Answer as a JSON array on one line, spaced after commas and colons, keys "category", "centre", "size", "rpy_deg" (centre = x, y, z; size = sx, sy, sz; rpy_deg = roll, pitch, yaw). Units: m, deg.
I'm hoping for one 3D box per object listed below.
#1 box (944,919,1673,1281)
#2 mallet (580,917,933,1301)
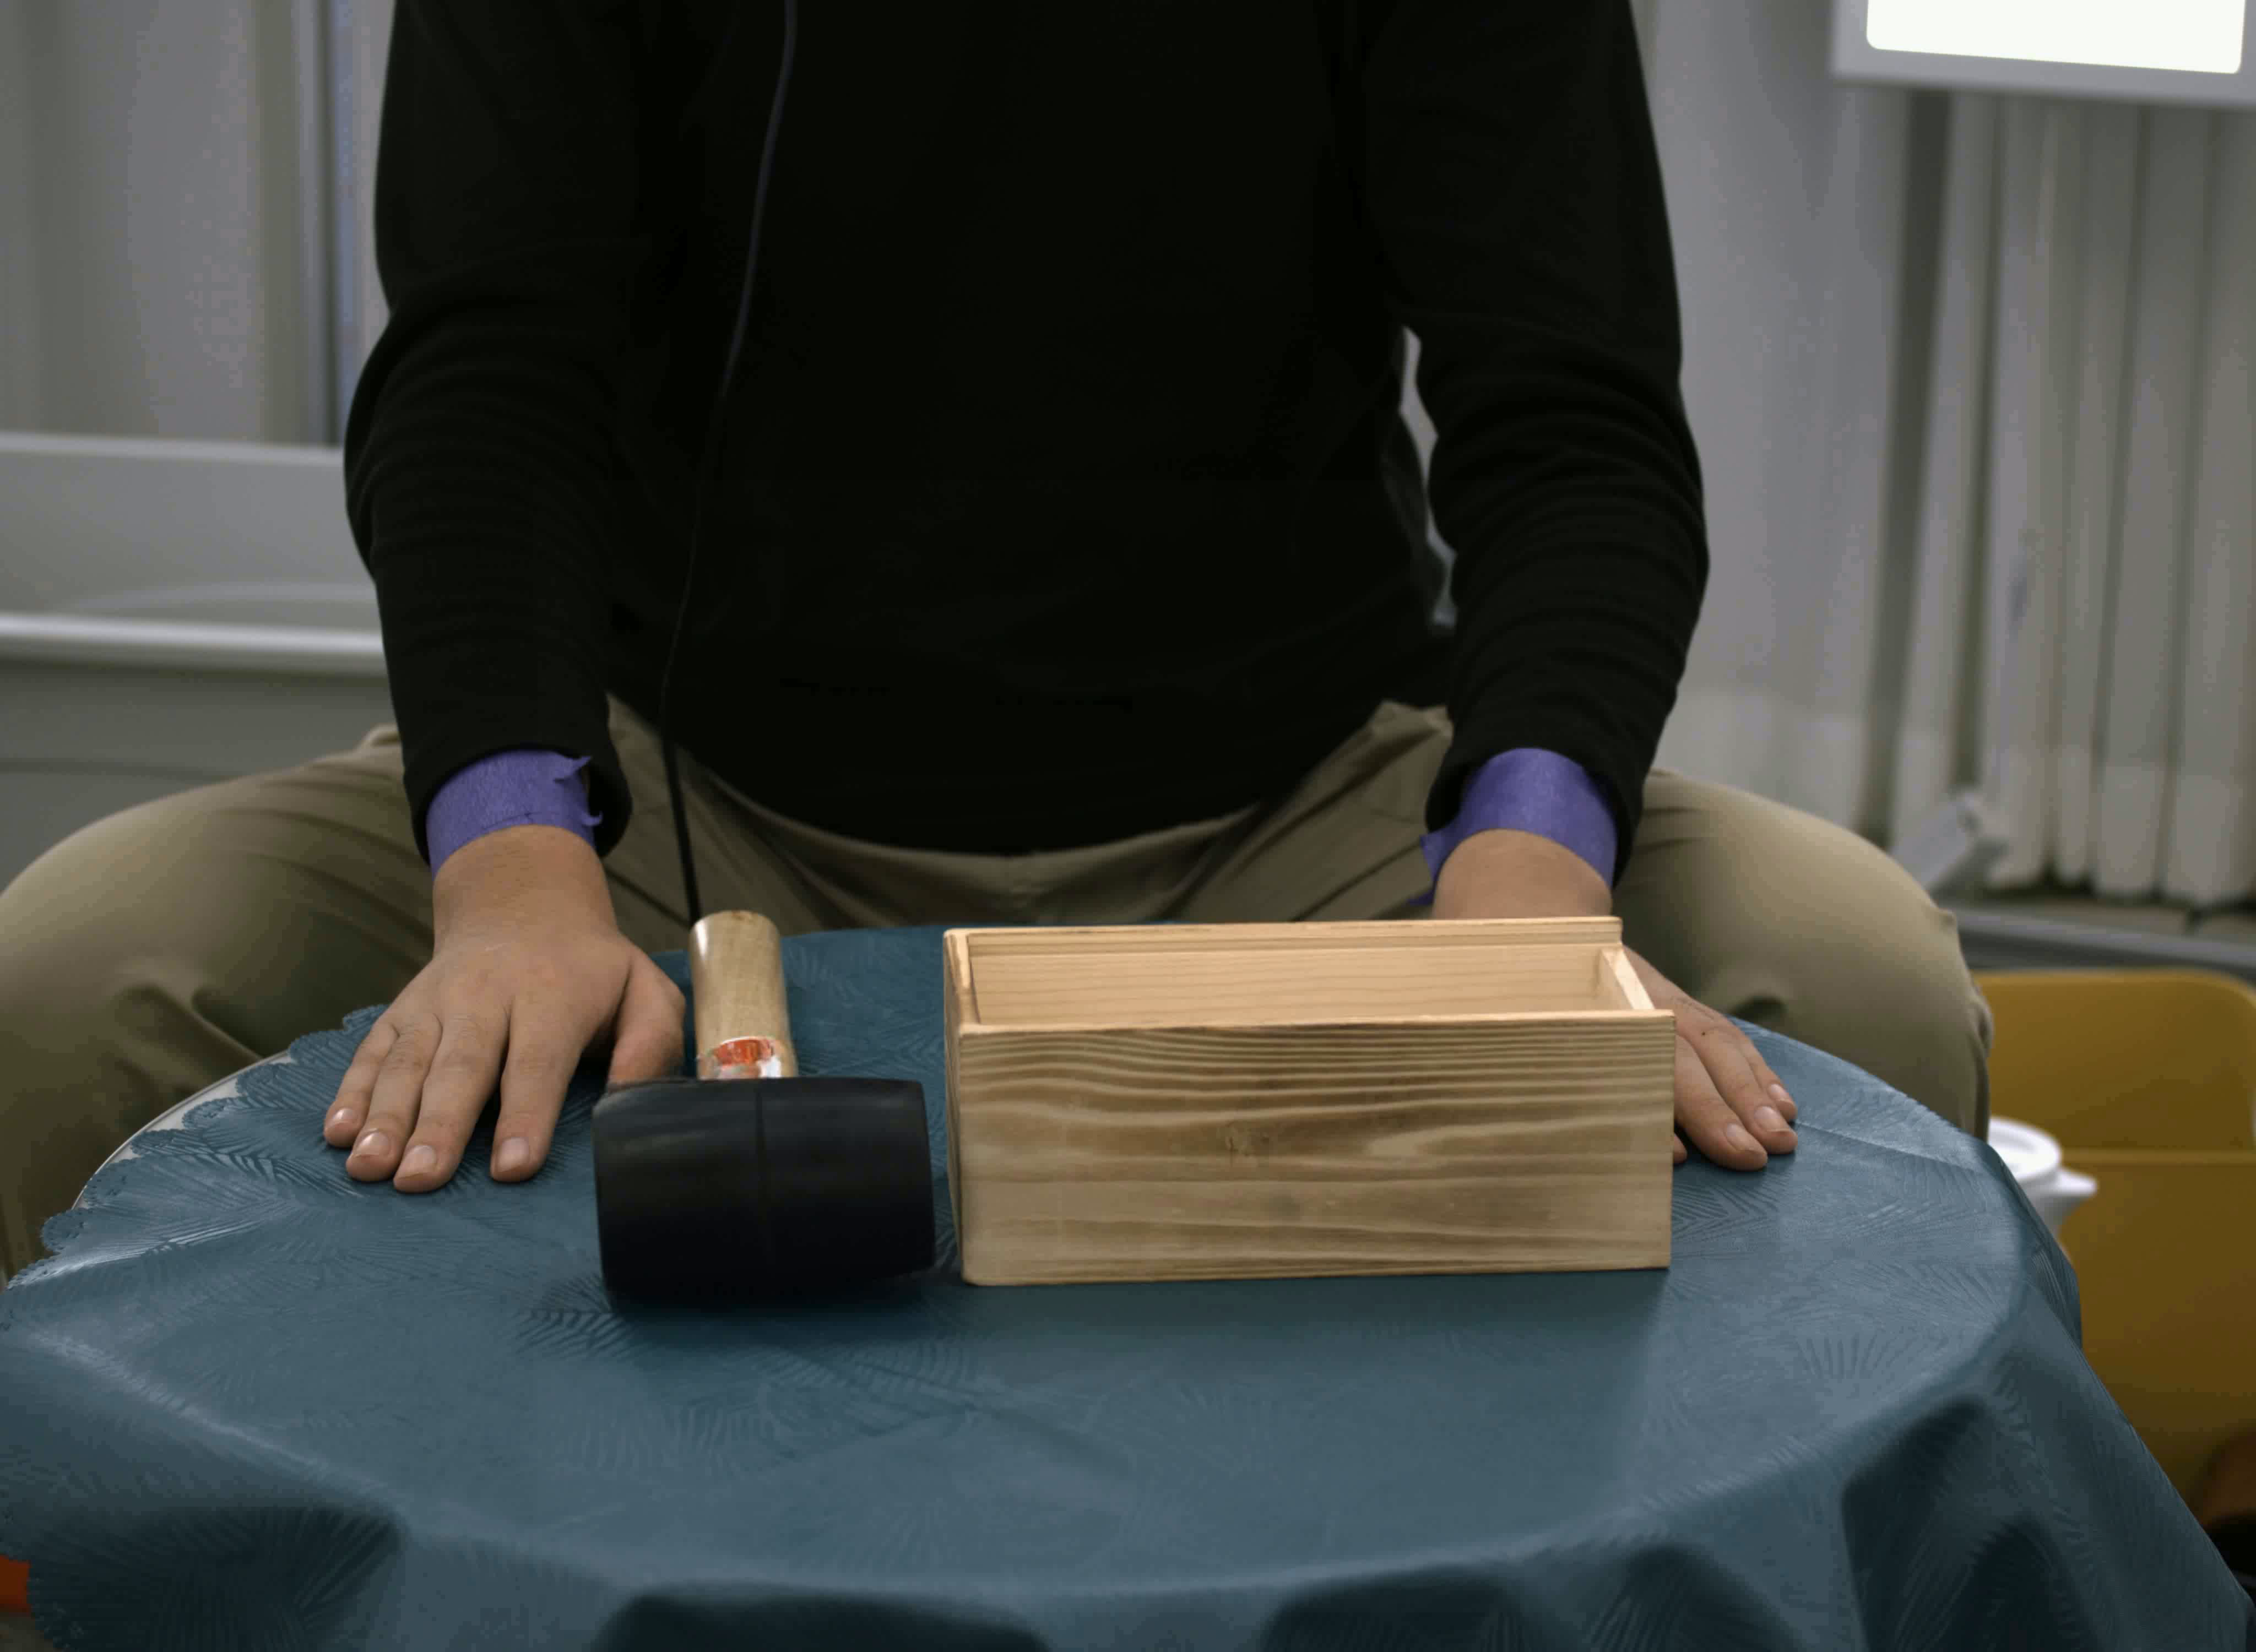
[{"category": "box", "centre": [0.051, 0.081, 1.587], "size": [0.211, 0.081, 0.107], "rpy_deg": [-1, 15, -5]}, {"category": "mallet", "centre": [-0.119, 0.070, 1.659], "size": [0.102, 0.065, 0.336], "rpy_deg": [0, 15, -5]}]
